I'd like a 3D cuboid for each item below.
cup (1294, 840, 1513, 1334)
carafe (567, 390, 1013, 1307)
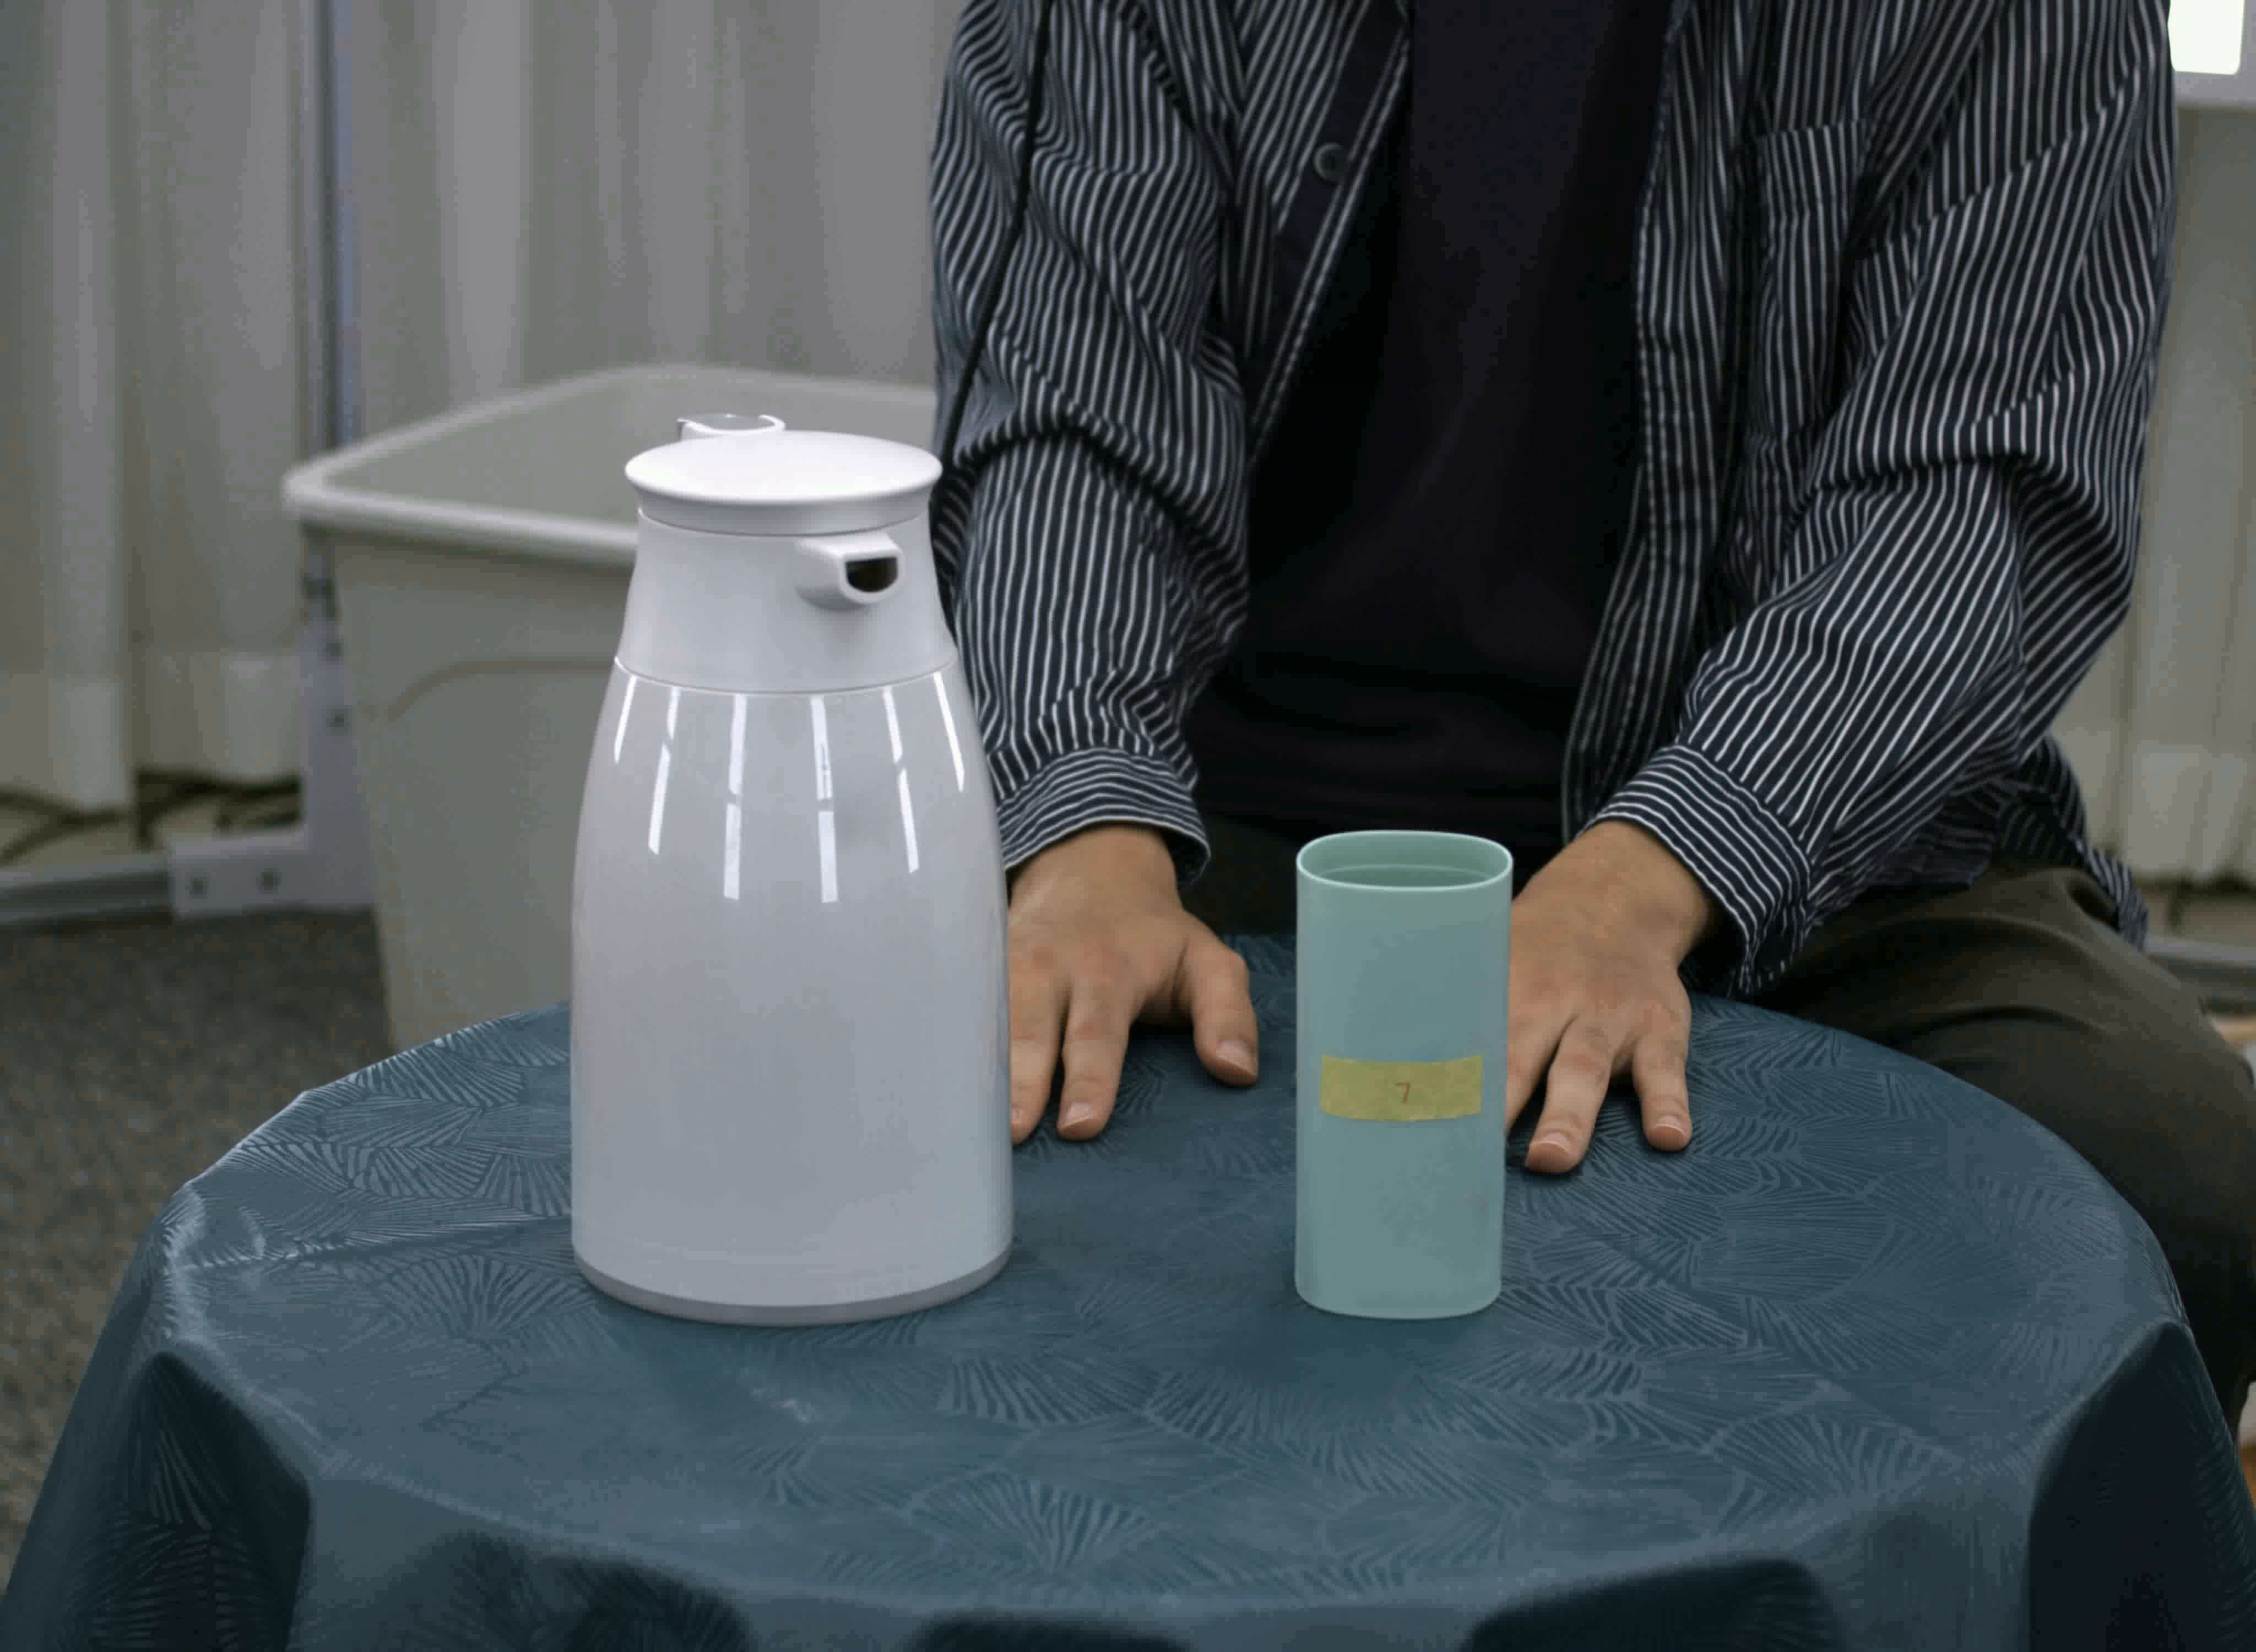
[{"bbox_3d":[0.079,0.075,1.533,0.066,0.133,0.066,0,16,0],"label":"cup"},{"bbox_3d":[-0.111,-0.002,1.555,0.133,0.250,0.165,-10,18,-29],"label":"carafe"}]
